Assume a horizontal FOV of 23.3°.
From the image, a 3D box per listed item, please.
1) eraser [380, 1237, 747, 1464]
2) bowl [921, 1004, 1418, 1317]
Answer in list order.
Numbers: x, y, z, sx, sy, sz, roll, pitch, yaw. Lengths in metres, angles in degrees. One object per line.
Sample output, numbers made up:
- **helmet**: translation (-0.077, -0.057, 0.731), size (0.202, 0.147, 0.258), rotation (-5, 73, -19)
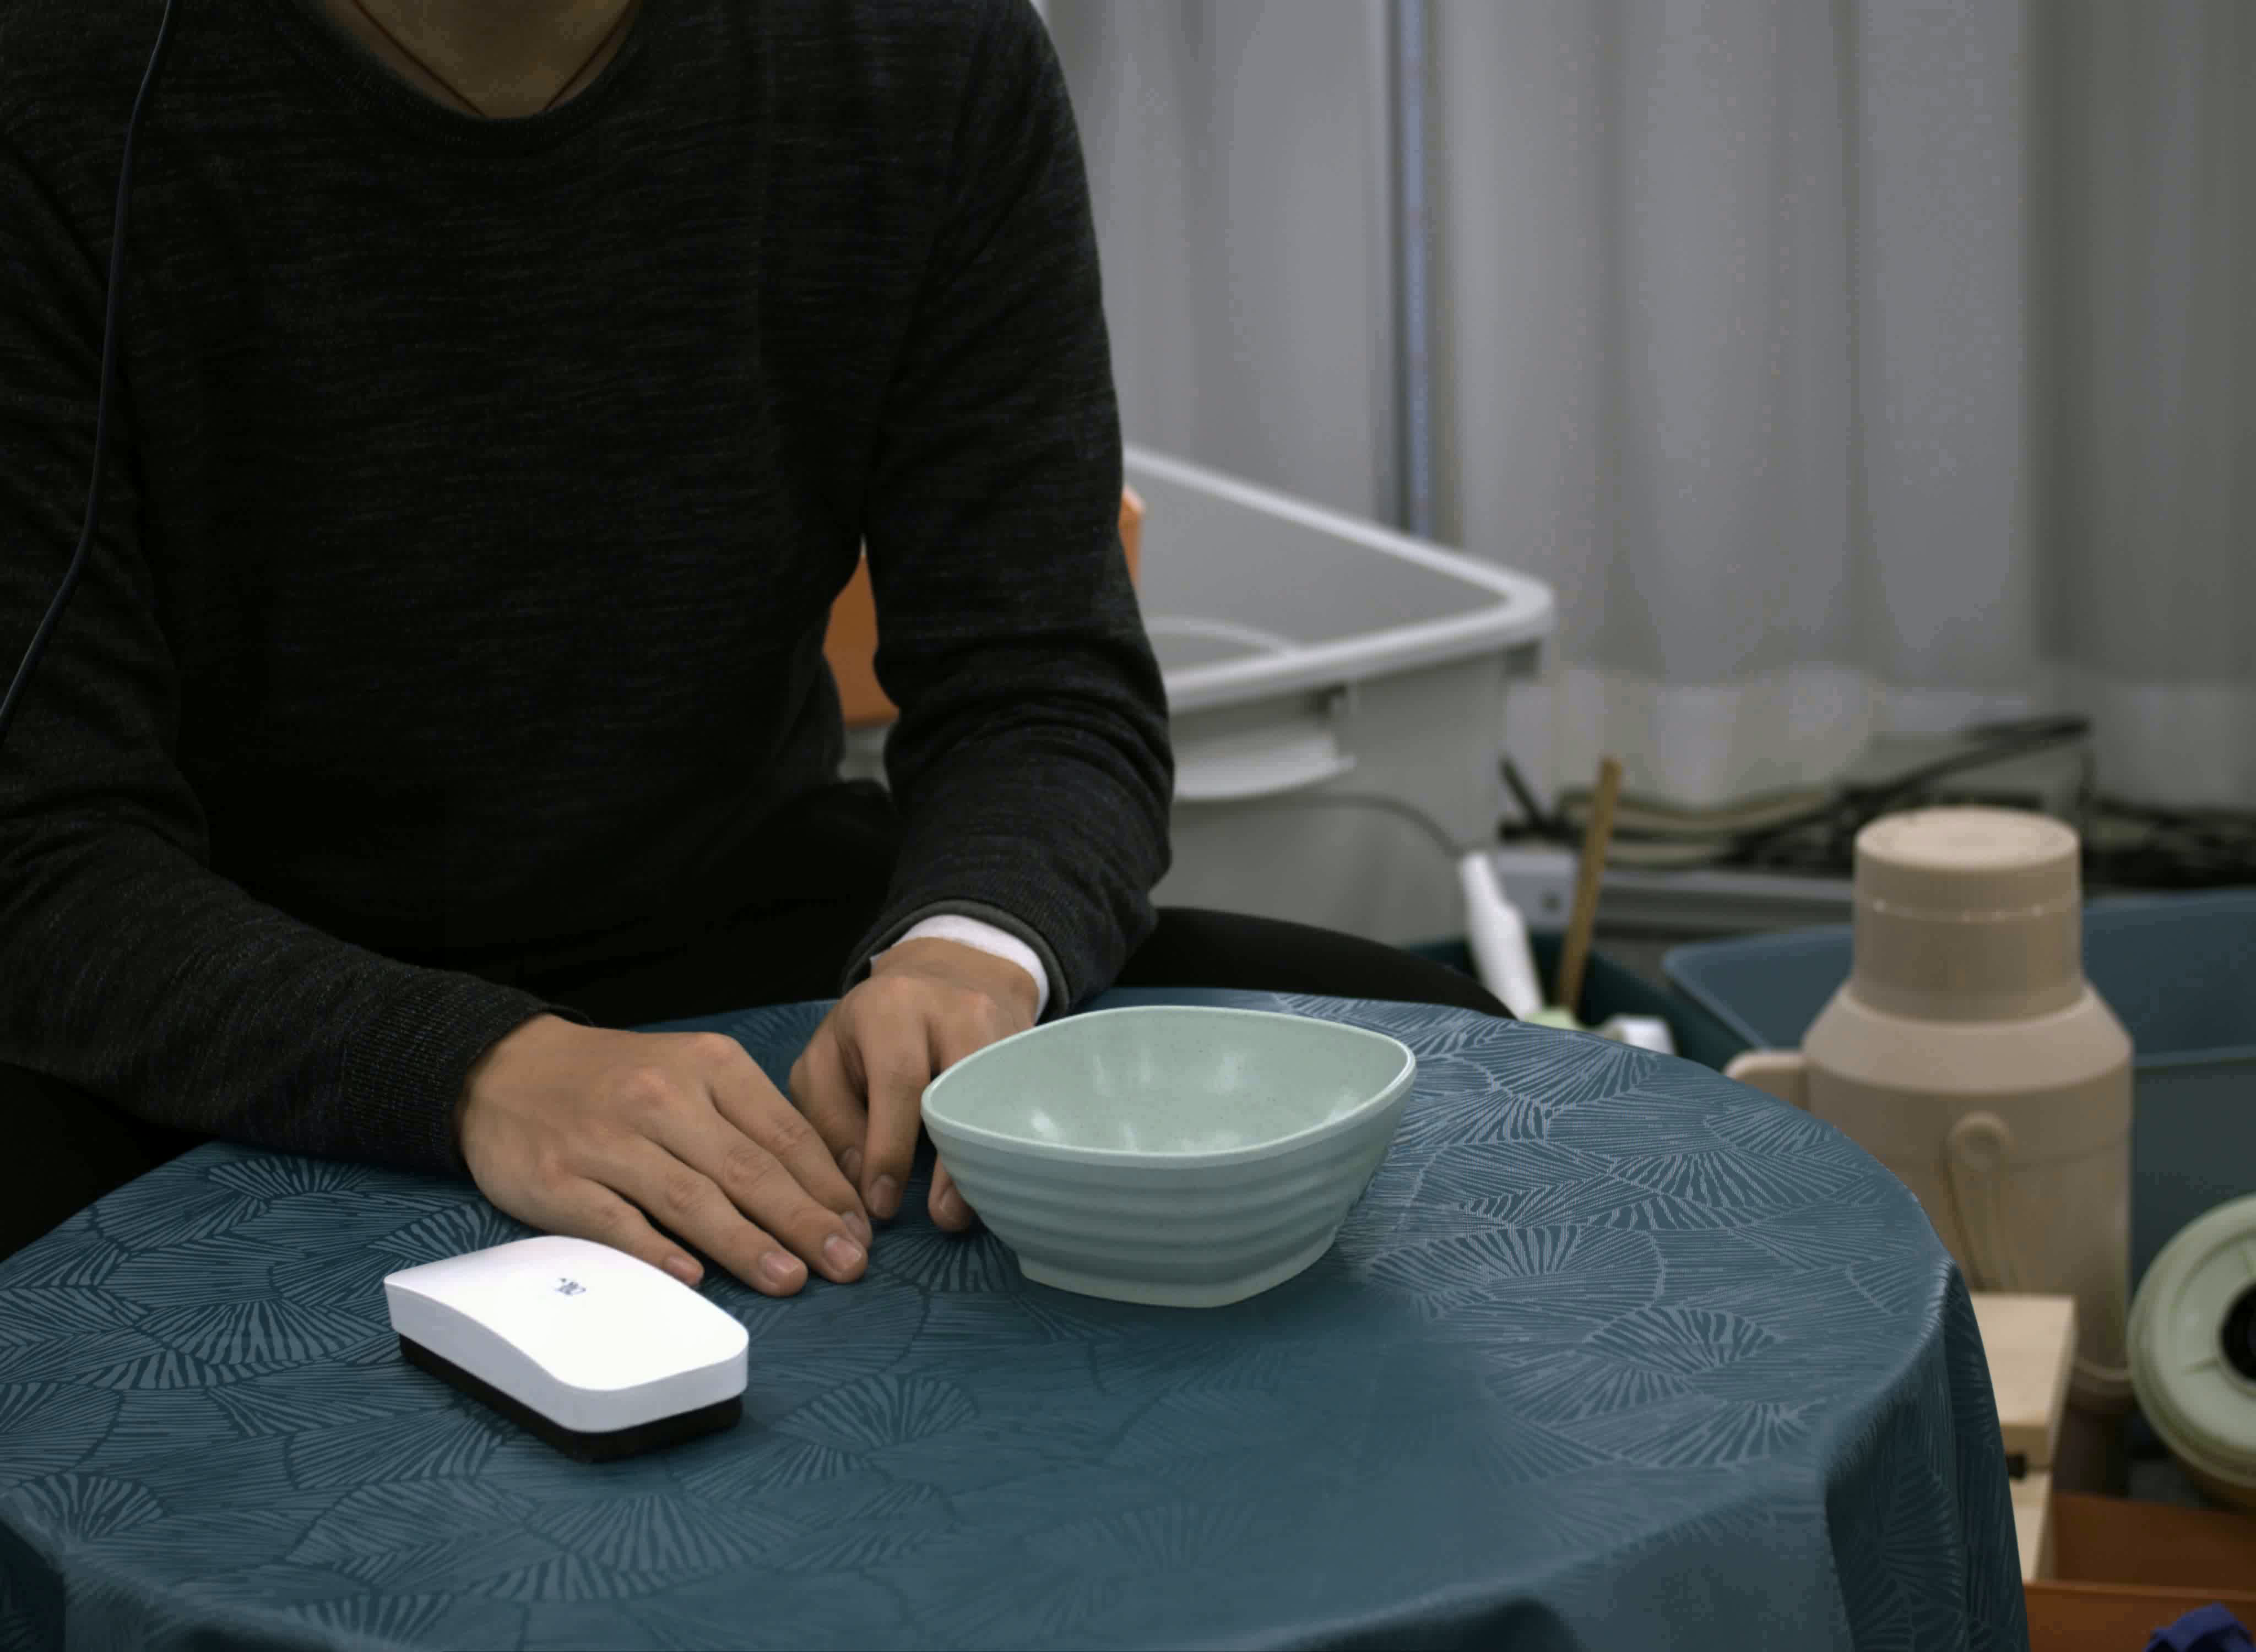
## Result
- **eraser**: translation (-0.162, 0.146, 1.567), size (0.063, 0.034, 0.132), rotation (-10, 17, -32)
- **bowl**: translation (0.013, 0.104, 1.647), size (0.151, 0.058, 0.152), rotation (-2, 16, 0)
